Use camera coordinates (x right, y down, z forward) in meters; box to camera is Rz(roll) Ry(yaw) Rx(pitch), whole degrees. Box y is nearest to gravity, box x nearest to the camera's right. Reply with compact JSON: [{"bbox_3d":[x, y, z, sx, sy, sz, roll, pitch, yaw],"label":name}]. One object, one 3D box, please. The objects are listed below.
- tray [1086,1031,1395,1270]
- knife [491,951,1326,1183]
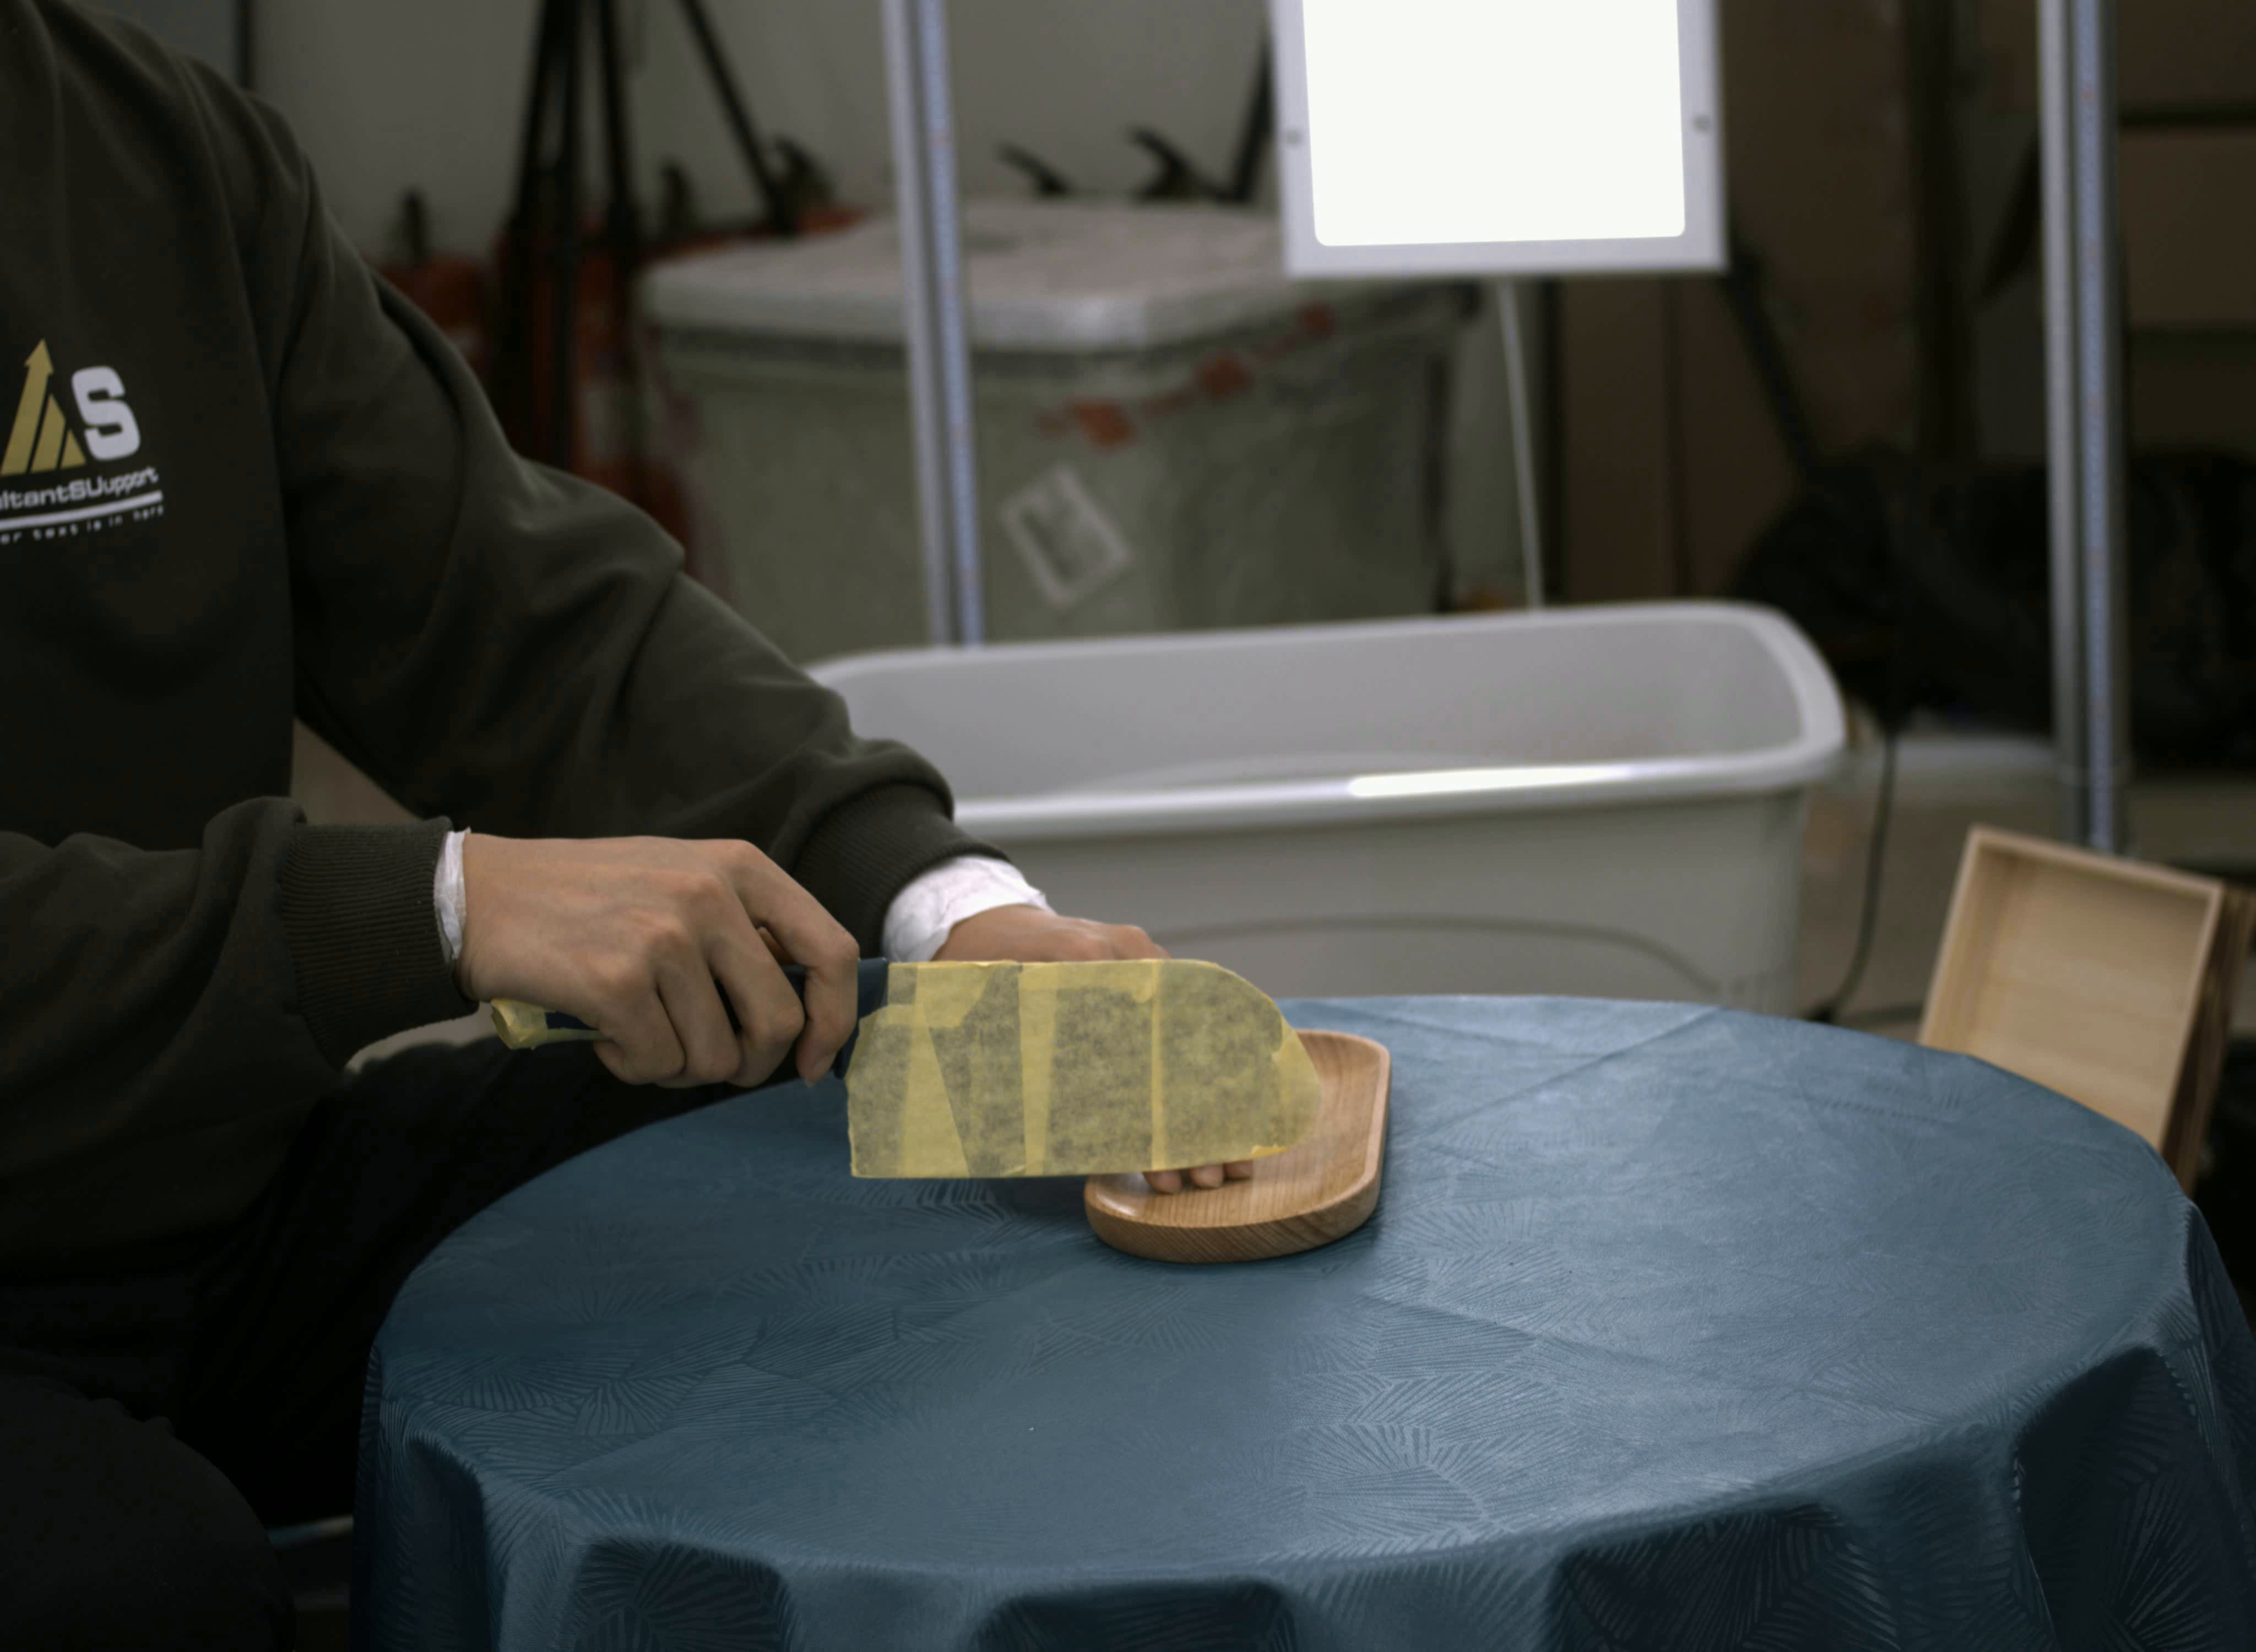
[{"bbox_3d":[0.042,0.111,1.919,0.102,0.020,0.229,-6,15,7],"label":"tray"},{"bbox_3d":[-0.071,0.080,1.853,0.286,0.081,0.027,2,-4,-11],"label":"knife"}]
